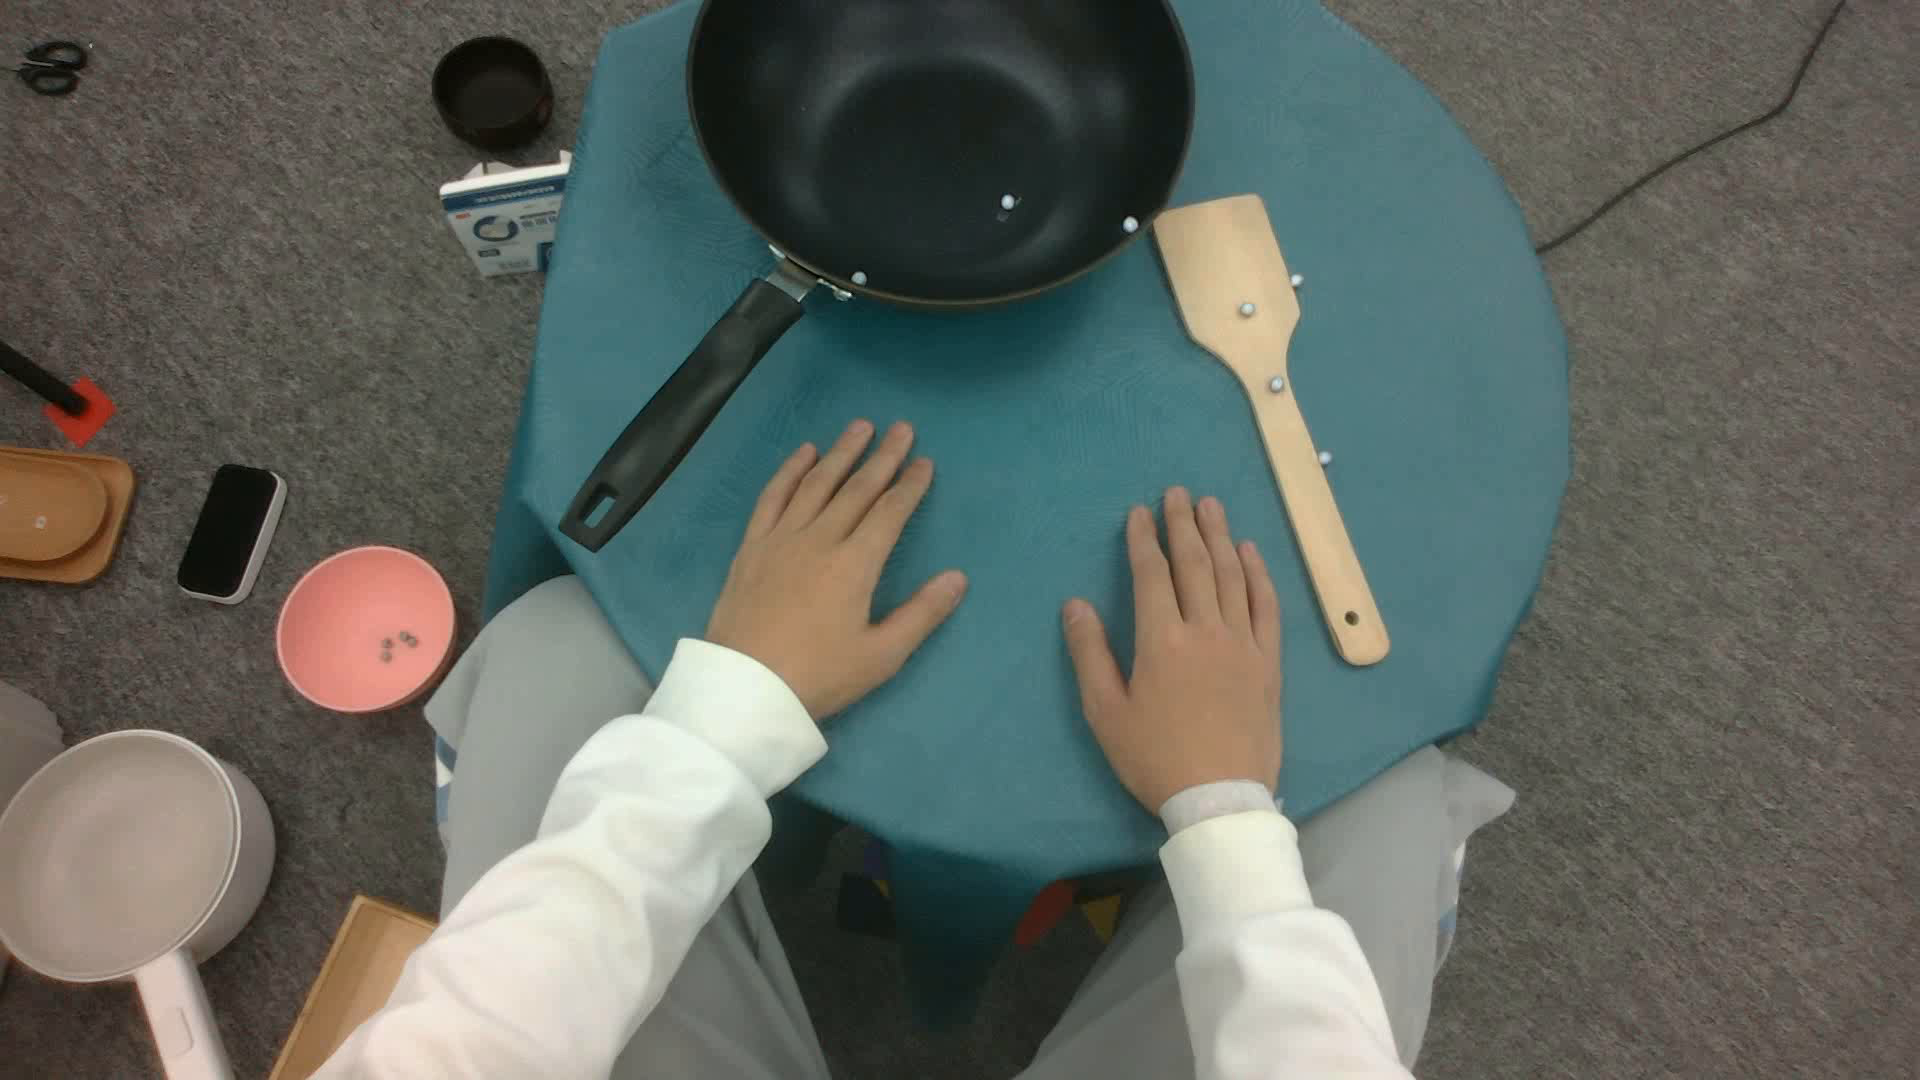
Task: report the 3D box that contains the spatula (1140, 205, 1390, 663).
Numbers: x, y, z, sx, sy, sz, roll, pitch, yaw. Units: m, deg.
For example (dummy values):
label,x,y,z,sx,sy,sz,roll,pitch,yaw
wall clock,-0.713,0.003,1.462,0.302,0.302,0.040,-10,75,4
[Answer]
label,x,y,z,sx,sy,sz,roll,pitch,yaw
spatula,0.184,-0.066,0.798,0.072,0.010,0.293,-15,71,-8

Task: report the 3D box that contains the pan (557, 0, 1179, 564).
label,x,y,z,sx,sy,sz,roll,pitch,yaw
pan,-0.065,-0.165,0.787,0.288,0.086,0.464,30,74,9
